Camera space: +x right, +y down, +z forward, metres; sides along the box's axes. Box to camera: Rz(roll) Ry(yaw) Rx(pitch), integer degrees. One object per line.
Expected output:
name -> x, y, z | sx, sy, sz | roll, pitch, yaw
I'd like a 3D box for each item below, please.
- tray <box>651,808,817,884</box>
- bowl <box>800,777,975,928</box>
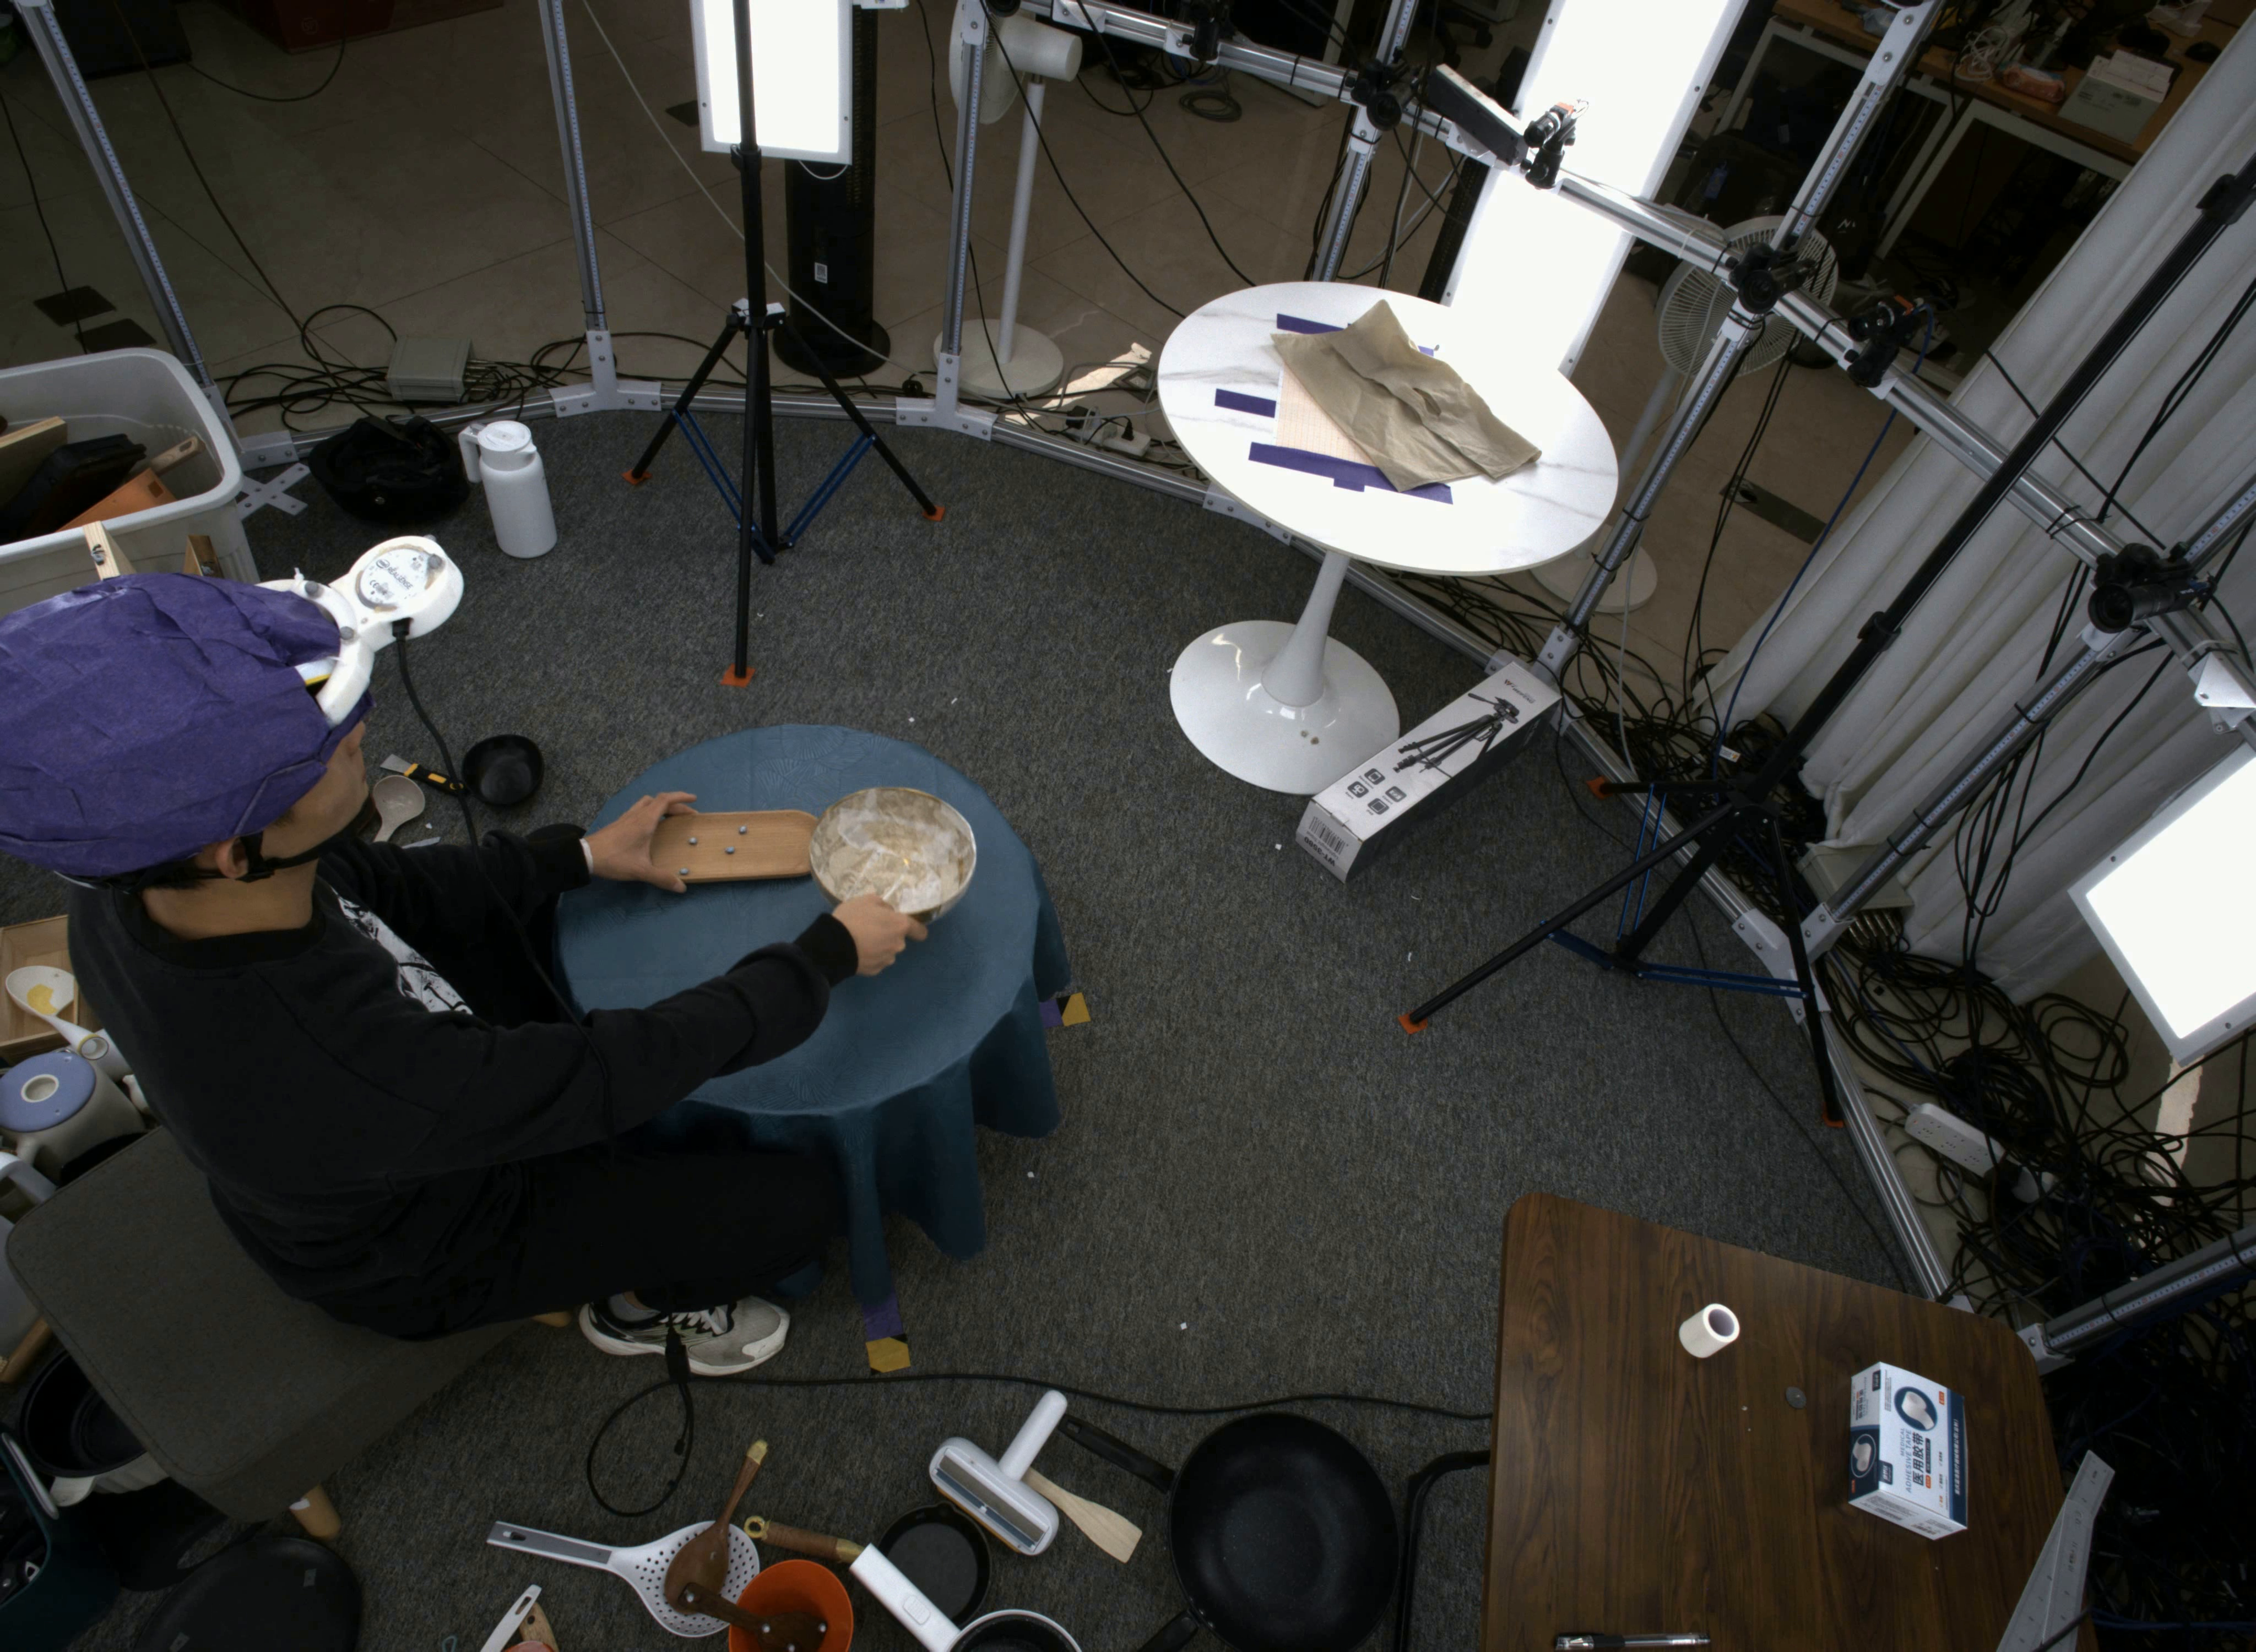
tray -> -0.497, 0.024, 1.670 | 0.233, 0.020, 0.100 | -2, 61, -24
bowl -> -0.297, 0.048, 1.608 | 0.214, 0.096, 0.211 | 7, 50, -7
